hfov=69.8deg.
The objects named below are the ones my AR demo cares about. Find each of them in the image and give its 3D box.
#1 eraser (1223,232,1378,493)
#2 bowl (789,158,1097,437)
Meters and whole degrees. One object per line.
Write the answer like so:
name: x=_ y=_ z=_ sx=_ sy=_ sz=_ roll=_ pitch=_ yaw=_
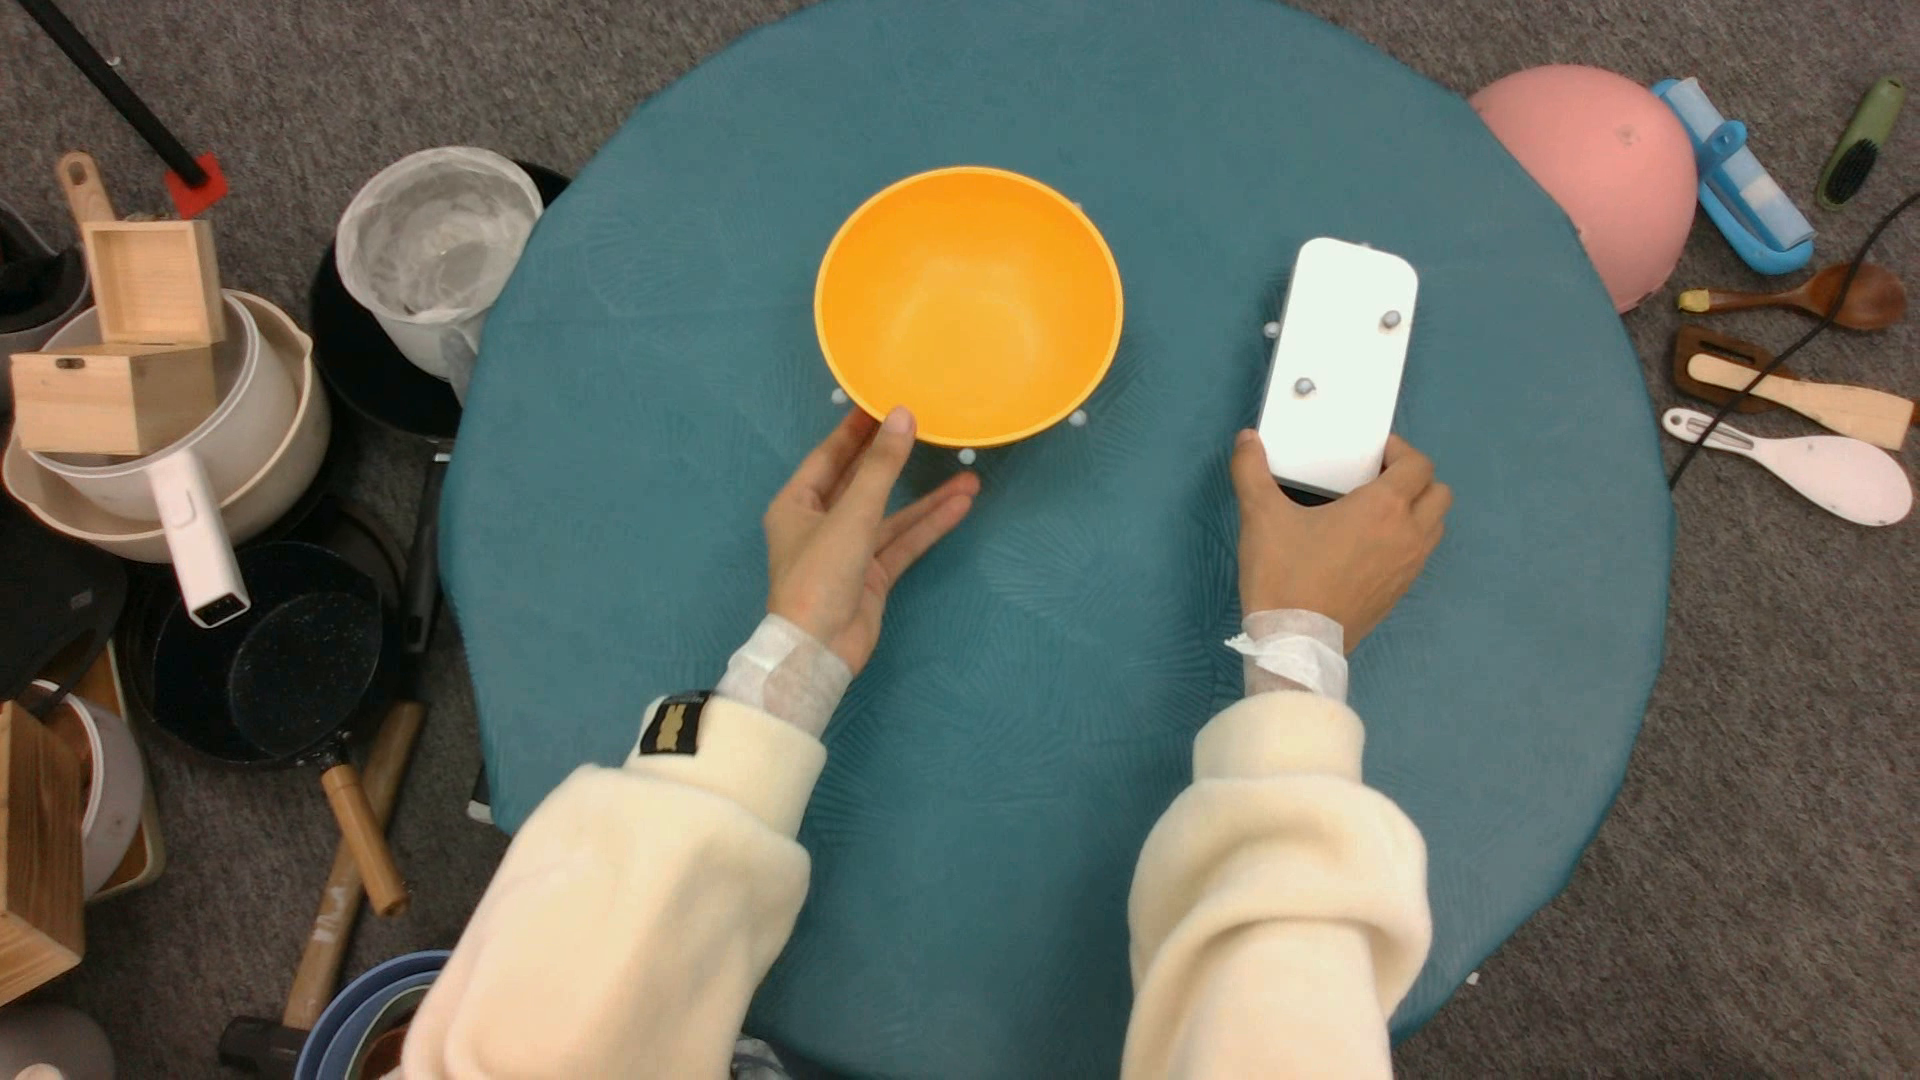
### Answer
eraser: x=0.167 y=-0.089 z=0.681 sx=0.063 sy=0.034 sz=0.131 roll=15 pitch=72 yaw=-4
bowl: x=-0.009 y=-0.108 z=0.669 sx=0.145 sy=0.060 sz=0.146 roll=1 pitch=71 yaw=-3
